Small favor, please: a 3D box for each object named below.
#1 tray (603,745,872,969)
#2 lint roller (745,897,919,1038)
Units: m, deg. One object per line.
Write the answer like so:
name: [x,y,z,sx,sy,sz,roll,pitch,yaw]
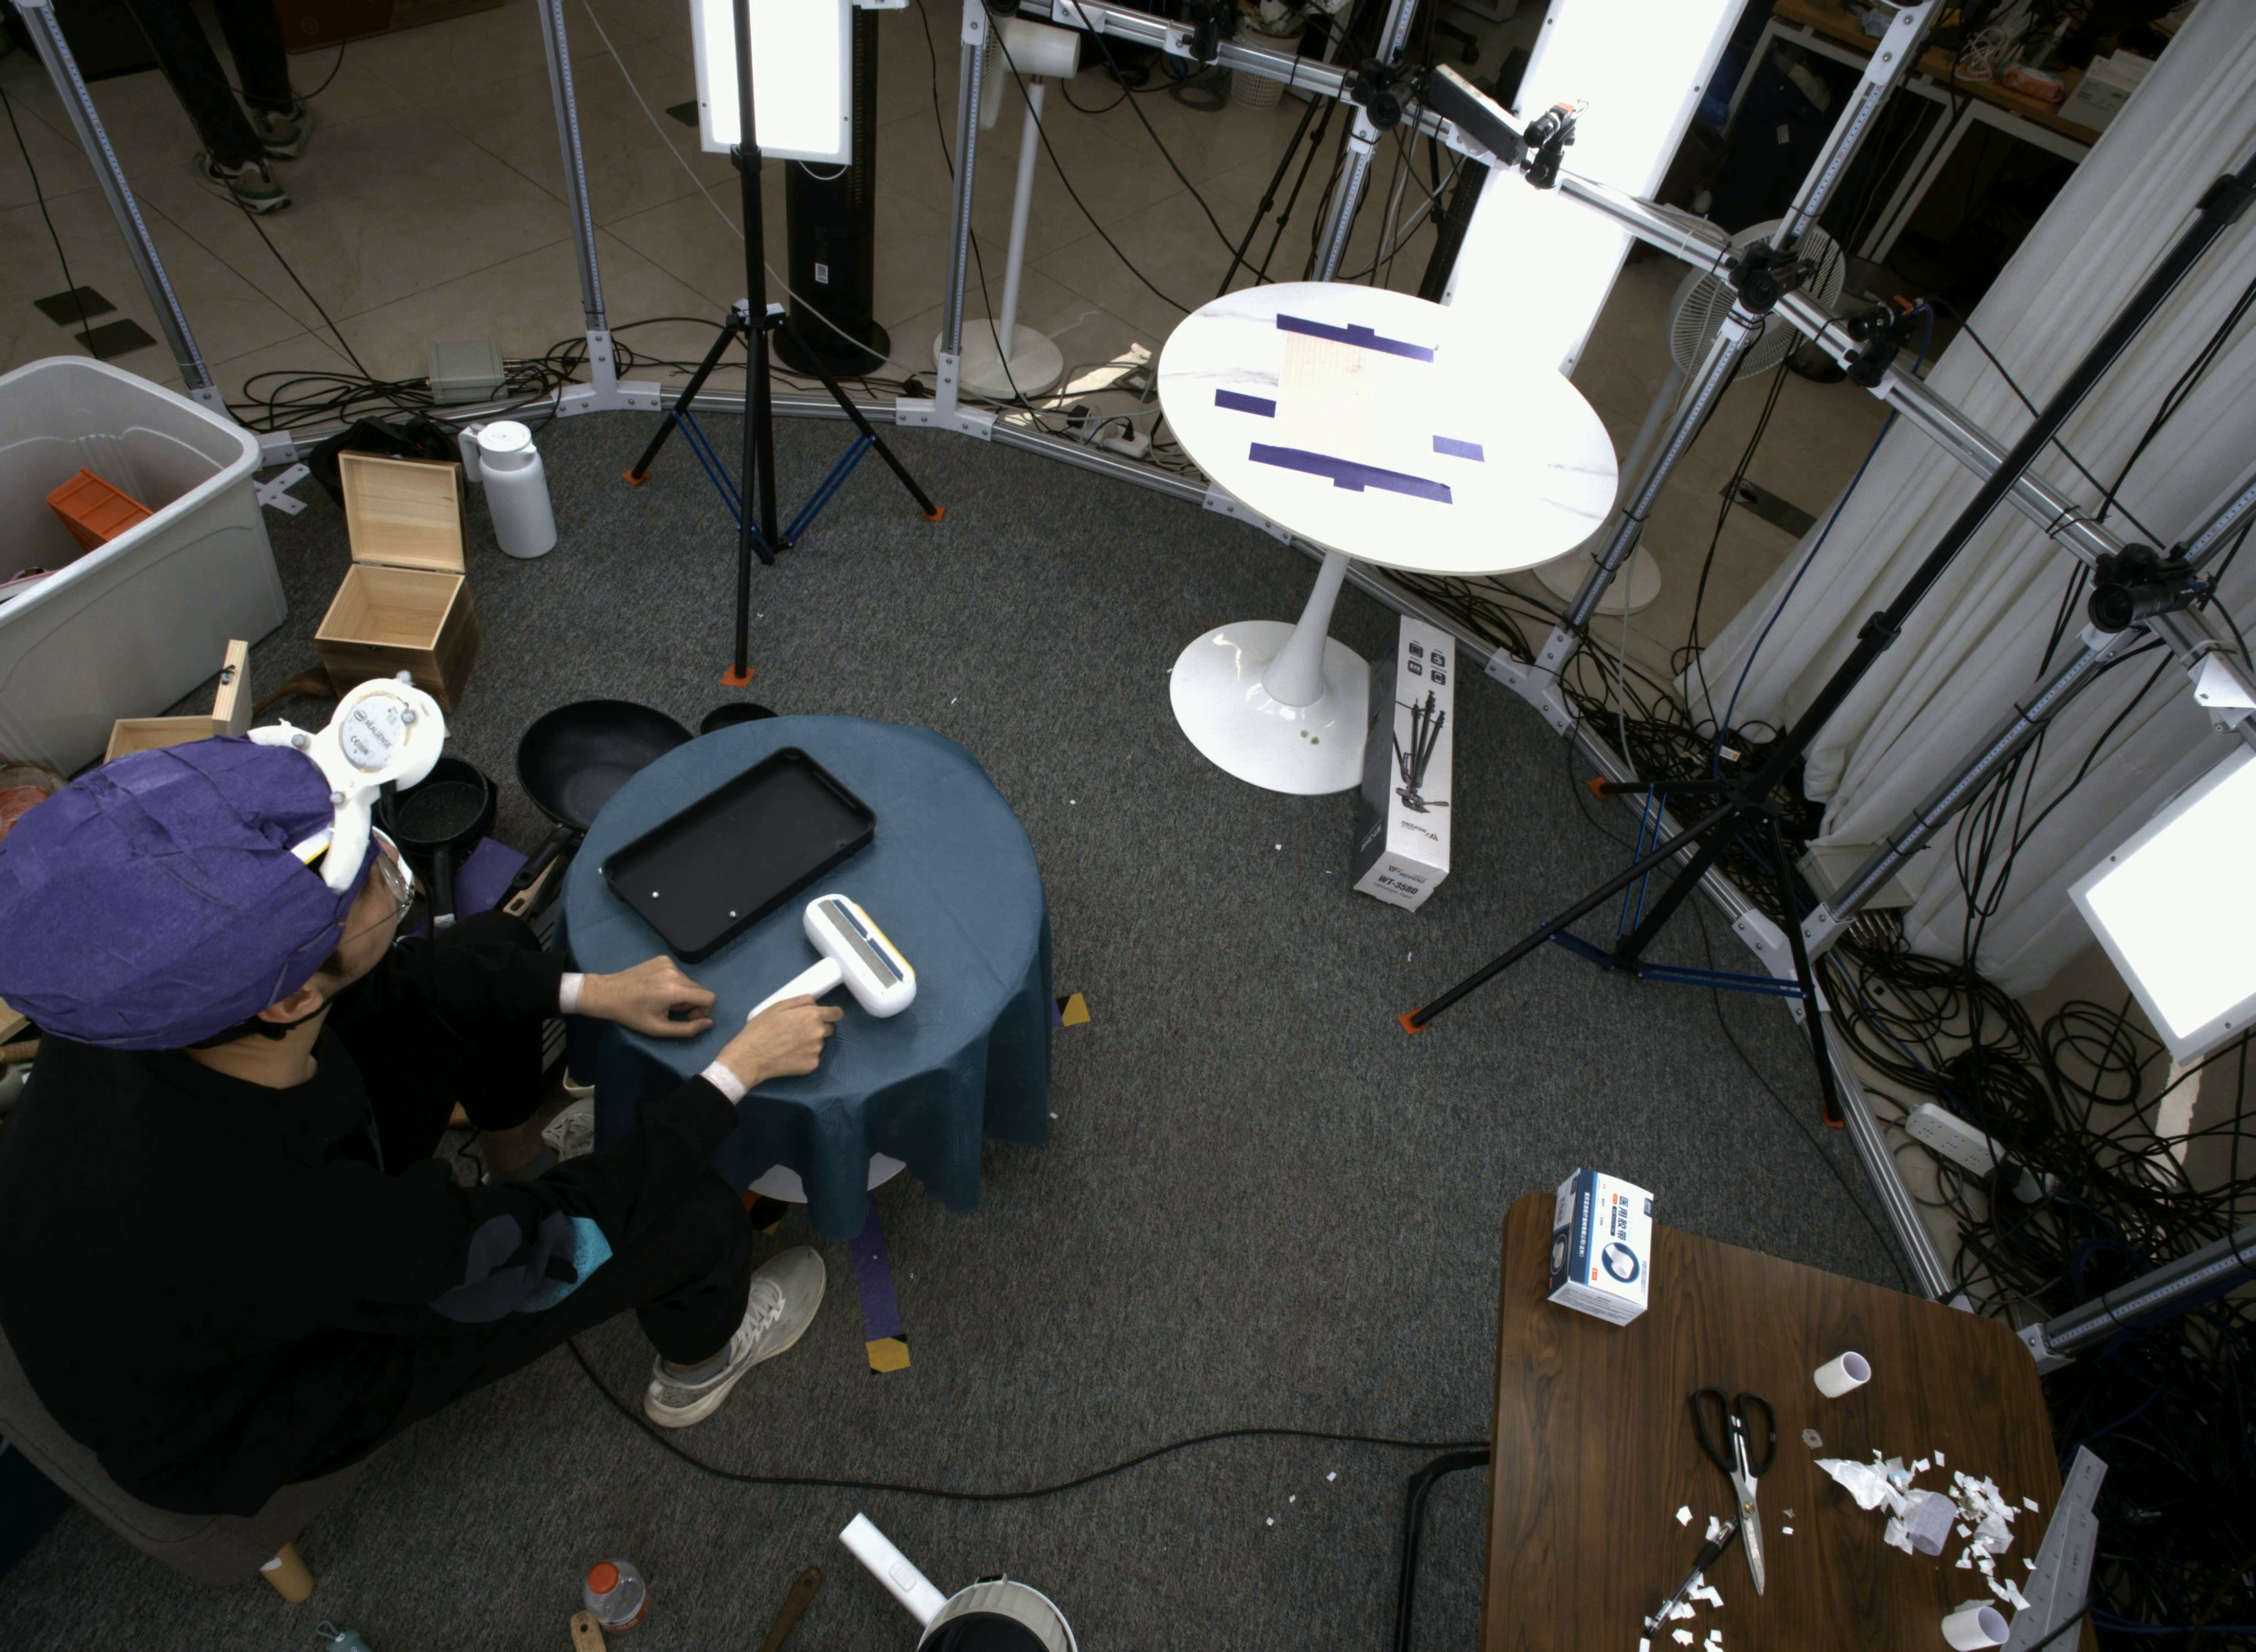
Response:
tray: [-0.499,0.031,1.663,0.180,0.038,0.318,38,54,14]
lint roller: [-0.372,0.187,1.563,0.193,0.076,0.187,-25,58,-27]
